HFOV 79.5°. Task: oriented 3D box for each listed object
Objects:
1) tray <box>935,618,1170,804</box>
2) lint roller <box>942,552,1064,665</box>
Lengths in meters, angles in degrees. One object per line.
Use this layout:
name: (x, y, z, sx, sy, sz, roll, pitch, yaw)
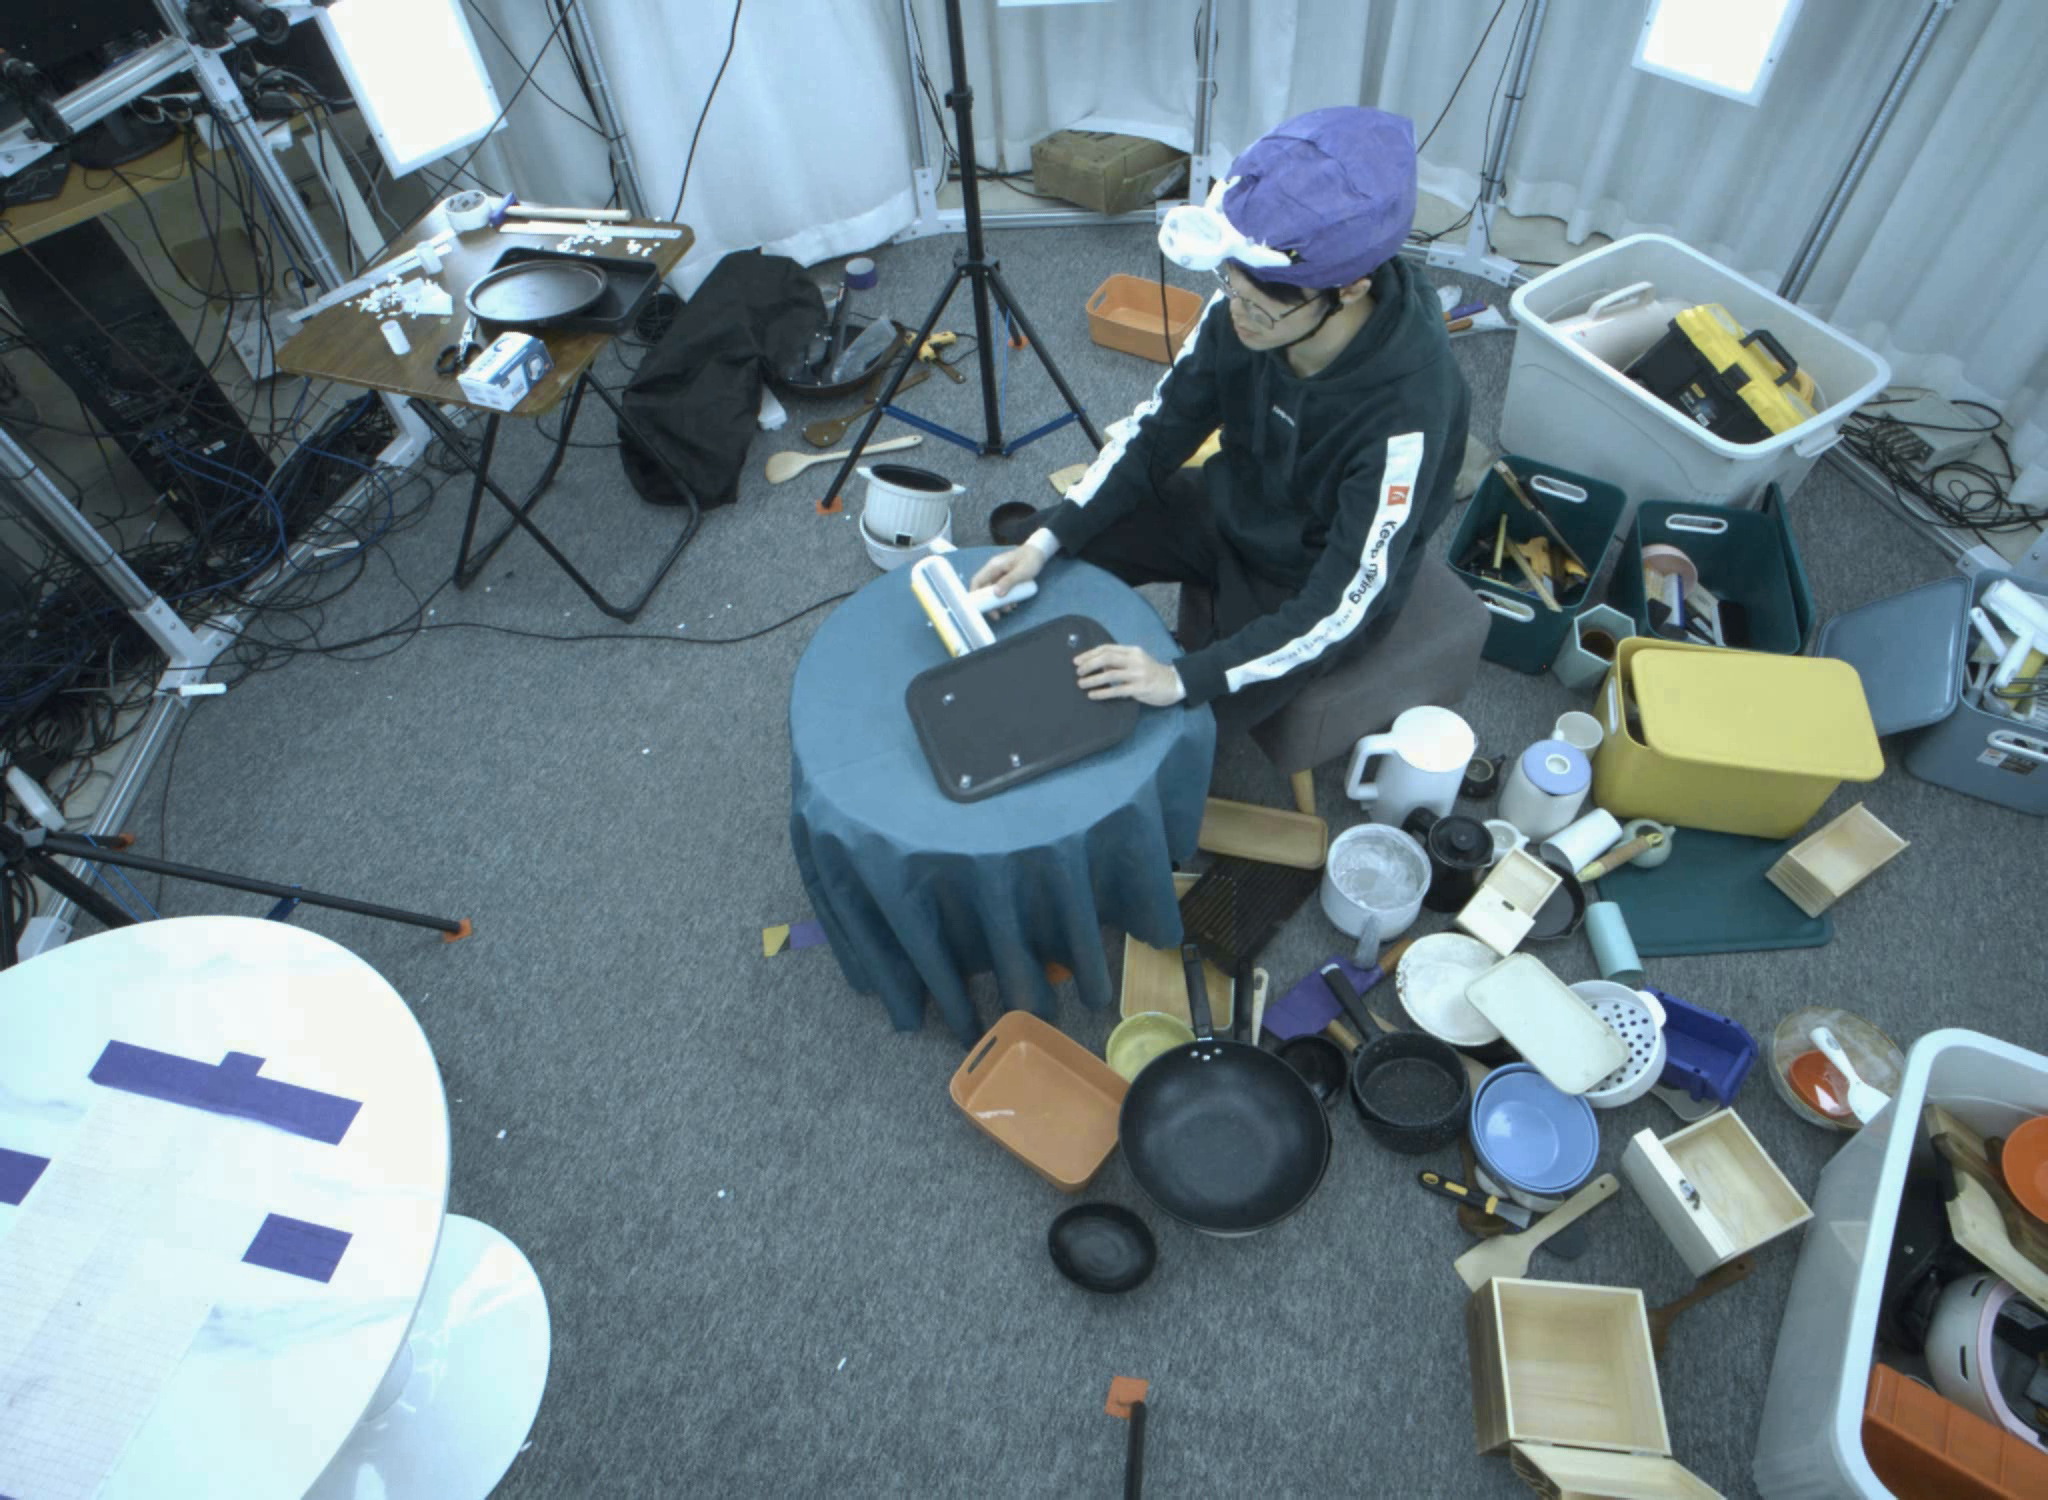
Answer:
tray: (0.046, -0.063, 1.760, 0.326, 0.010, 0.209, -20, 78, -5)
lint roller: (-0.017, -0.222, 1.910, 0.195, 0.074, 0.191, -15, 71, -29)
